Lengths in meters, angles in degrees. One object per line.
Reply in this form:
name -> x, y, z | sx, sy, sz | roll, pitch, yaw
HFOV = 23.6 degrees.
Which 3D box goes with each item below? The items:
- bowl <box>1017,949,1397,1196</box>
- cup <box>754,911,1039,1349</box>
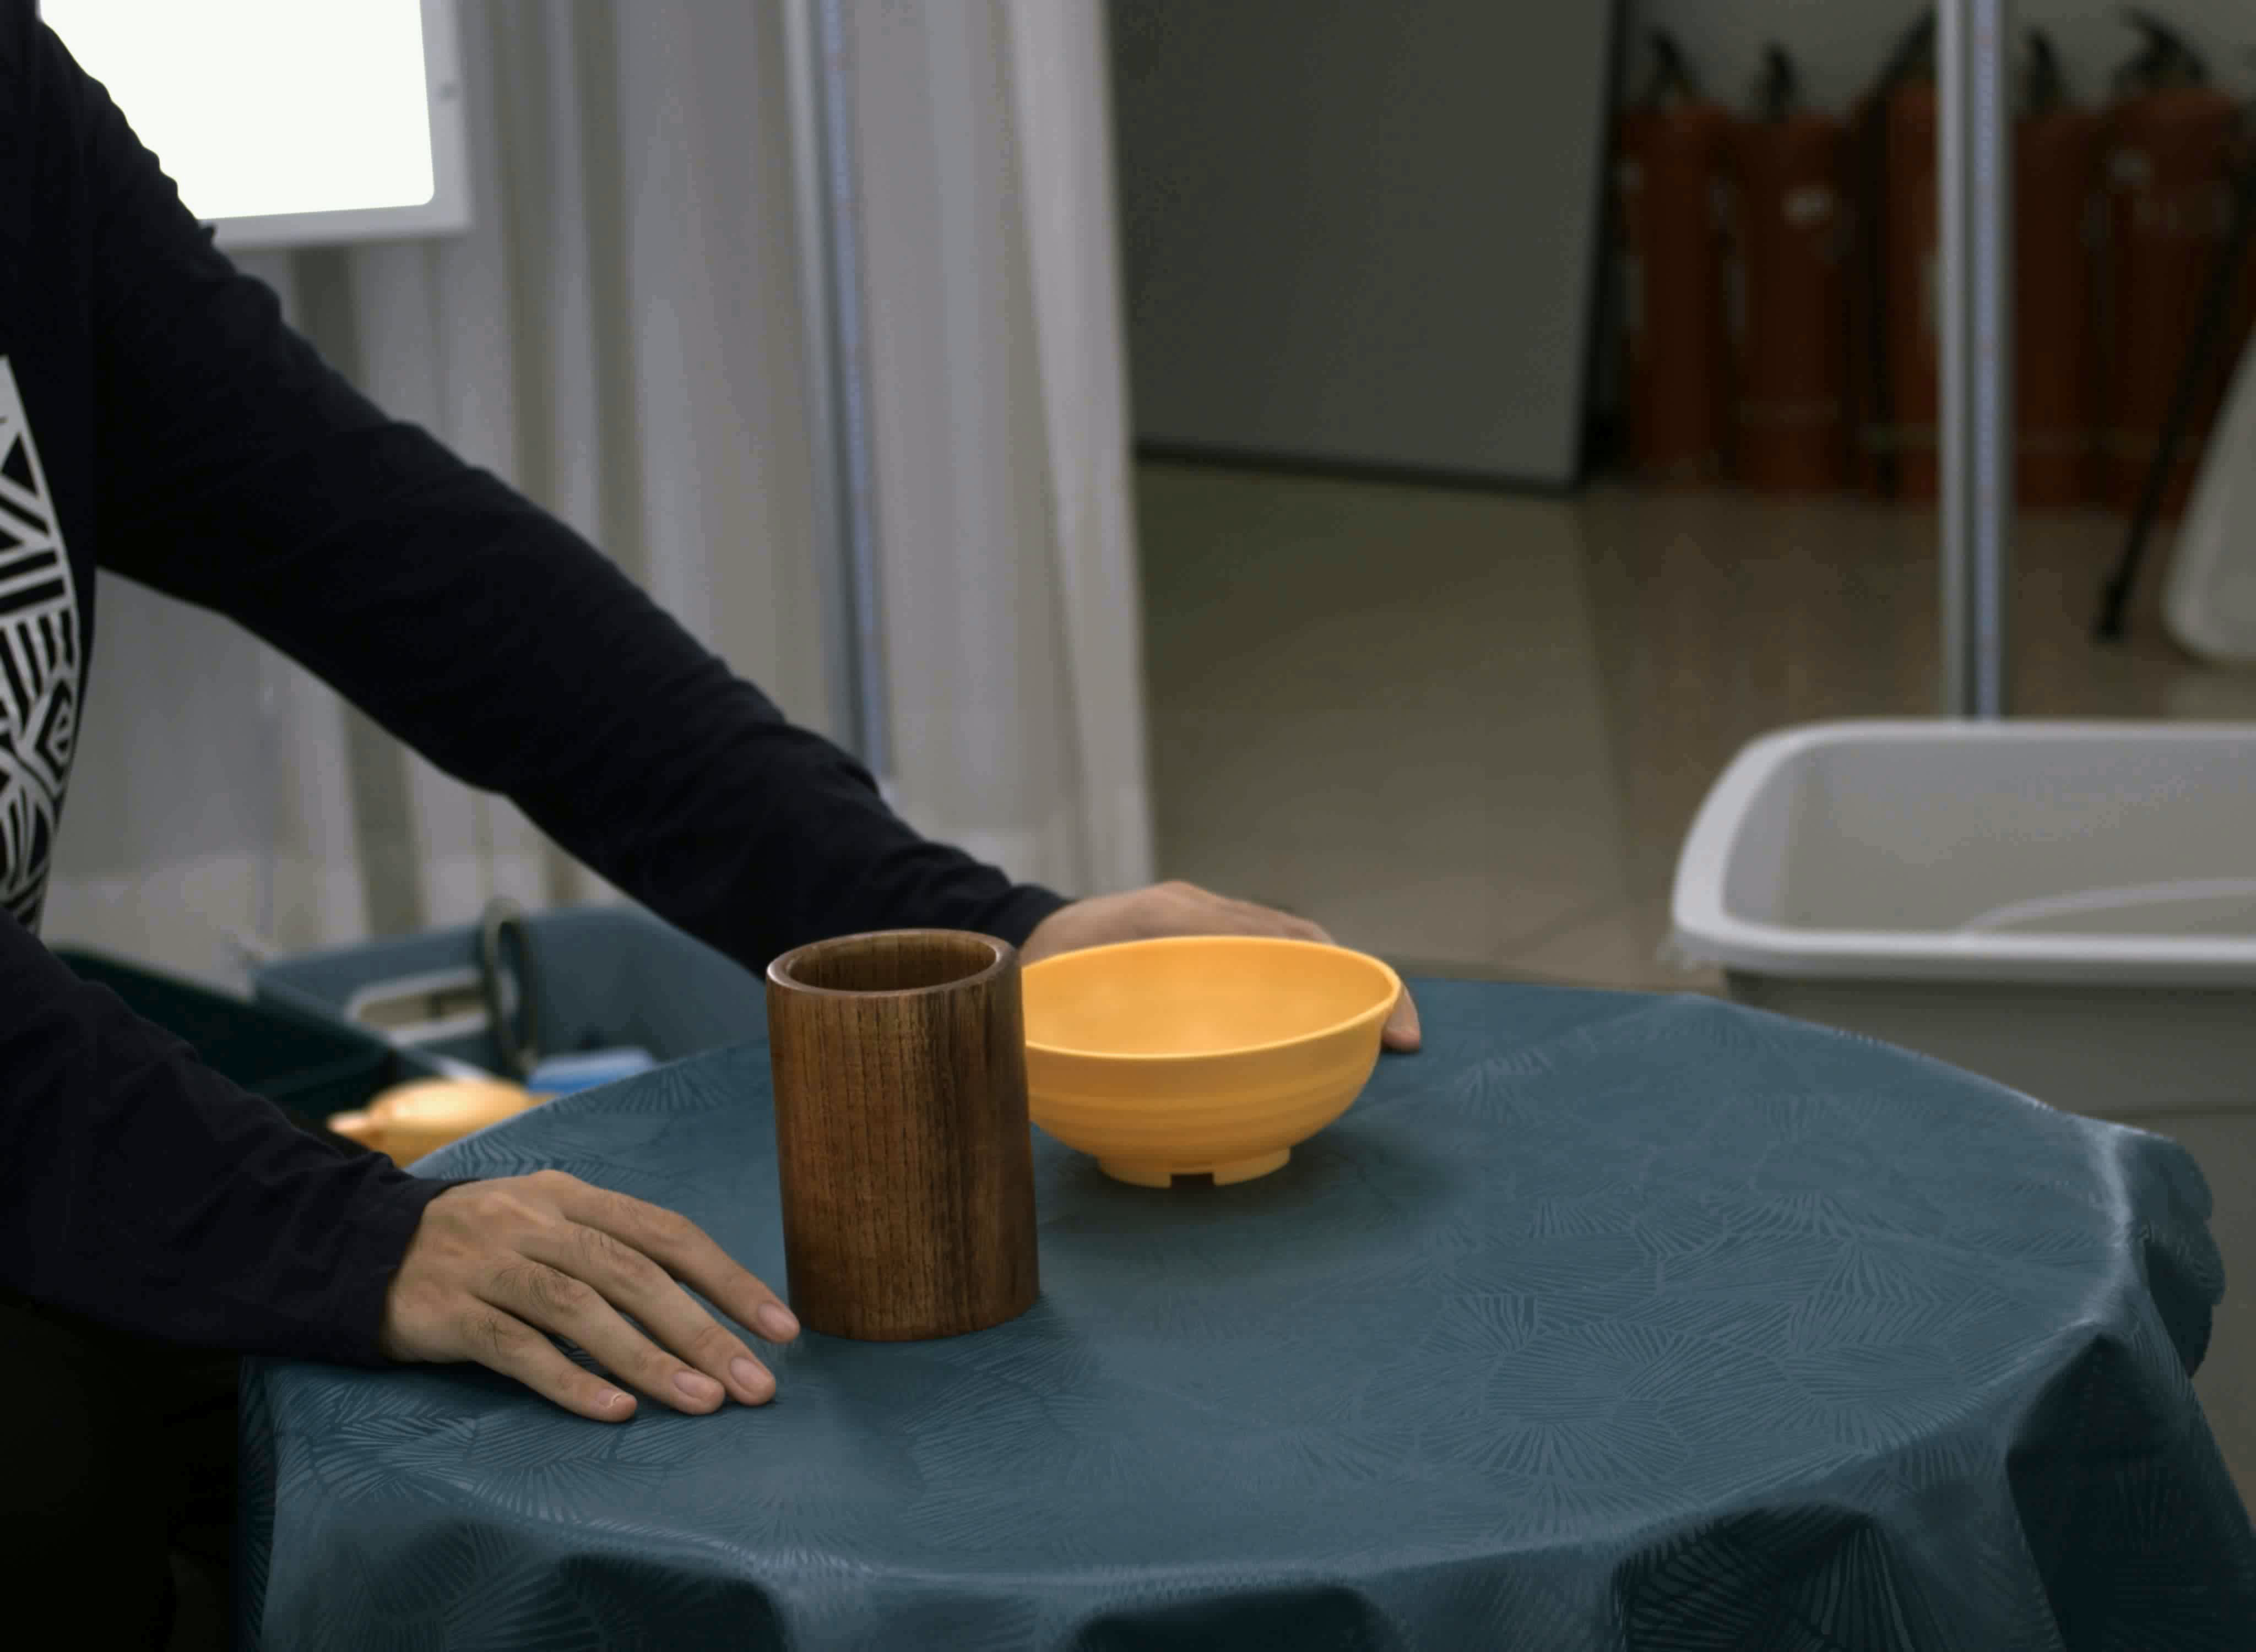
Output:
bowl -> 0.021, 0.085, 1.796 | 0.143, 0.061, 0.145 | -5, 12, 0
cup -> -0.071, 0.093, 1.666 | 0.086, 0.120, 0.088 | -3, 11, 0
